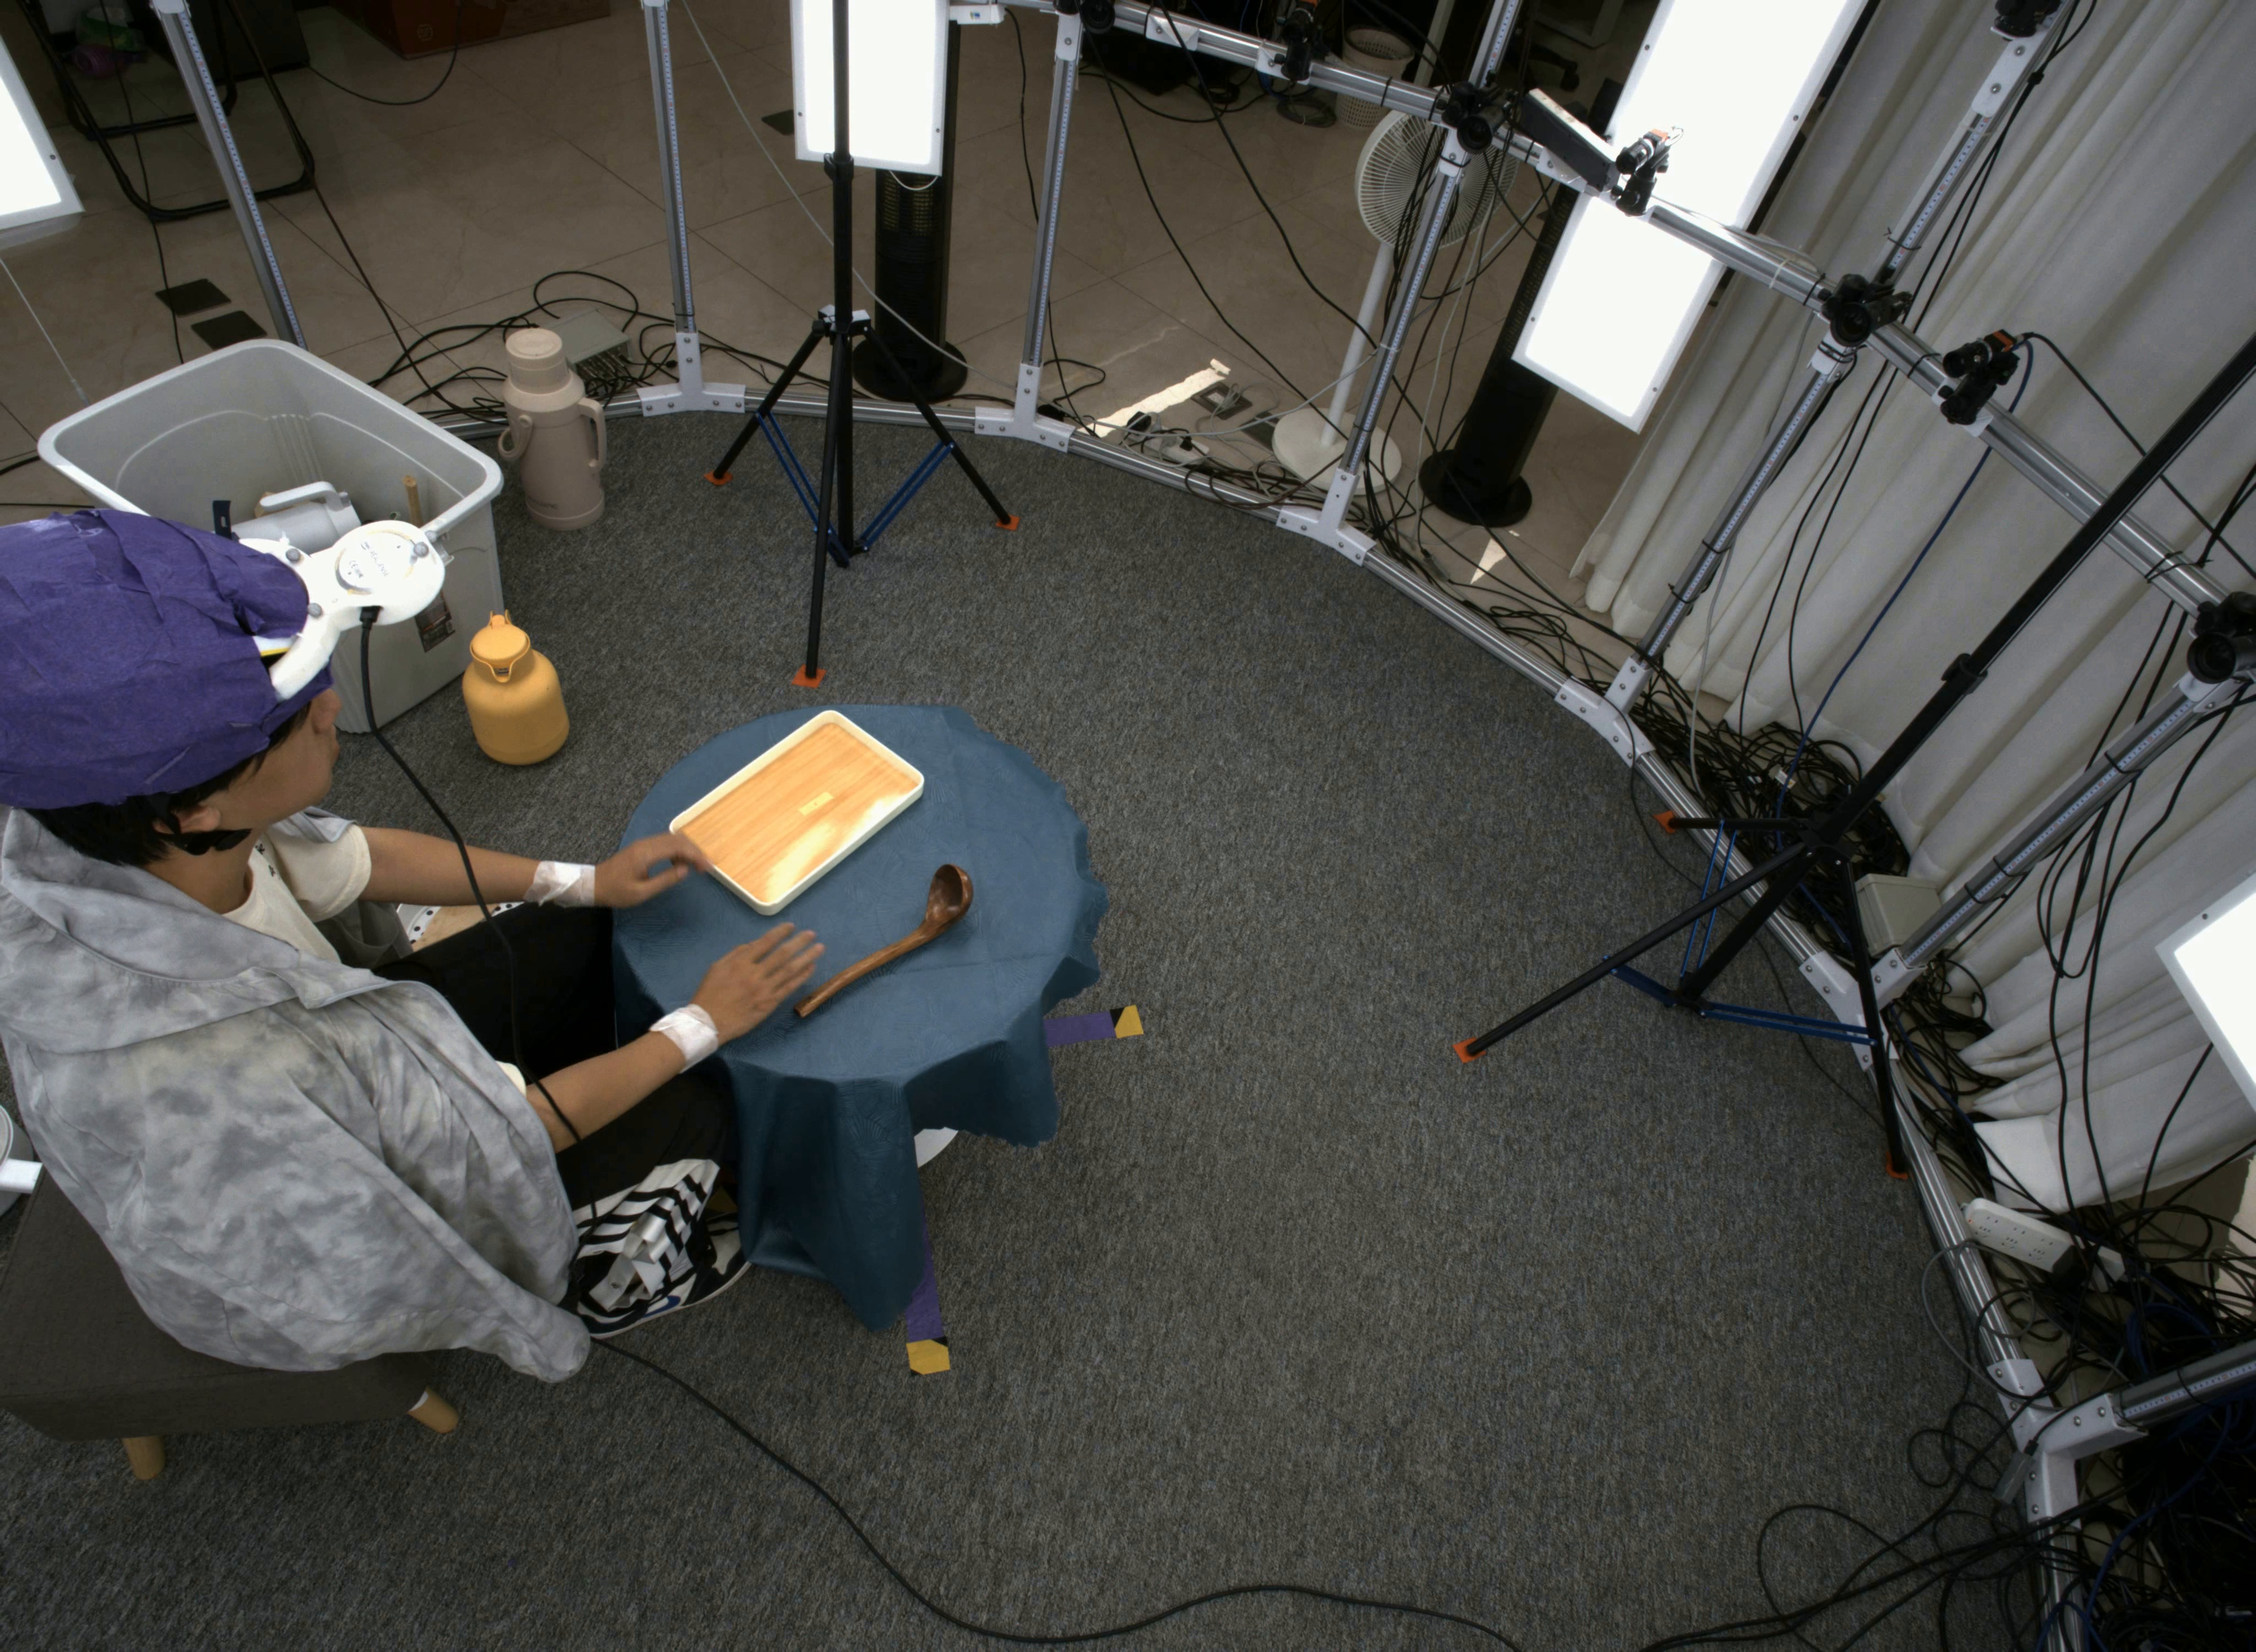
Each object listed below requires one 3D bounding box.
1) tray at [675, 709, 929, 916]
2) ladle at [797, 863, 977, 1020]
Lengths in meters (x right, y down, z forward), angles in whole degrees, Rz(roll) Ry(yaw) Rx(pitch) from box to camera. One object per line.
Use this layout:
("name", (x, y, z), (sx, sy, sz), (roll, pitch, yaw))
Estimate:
("tray", (-0.430, -0.025, 1.726), (0.188, 0.028, 0.300), (37, 54, 14))
("ladle", (-0.300, 0.136, 1.611), (0.275, 0.079, 0.079), (-31, 23, -29))
